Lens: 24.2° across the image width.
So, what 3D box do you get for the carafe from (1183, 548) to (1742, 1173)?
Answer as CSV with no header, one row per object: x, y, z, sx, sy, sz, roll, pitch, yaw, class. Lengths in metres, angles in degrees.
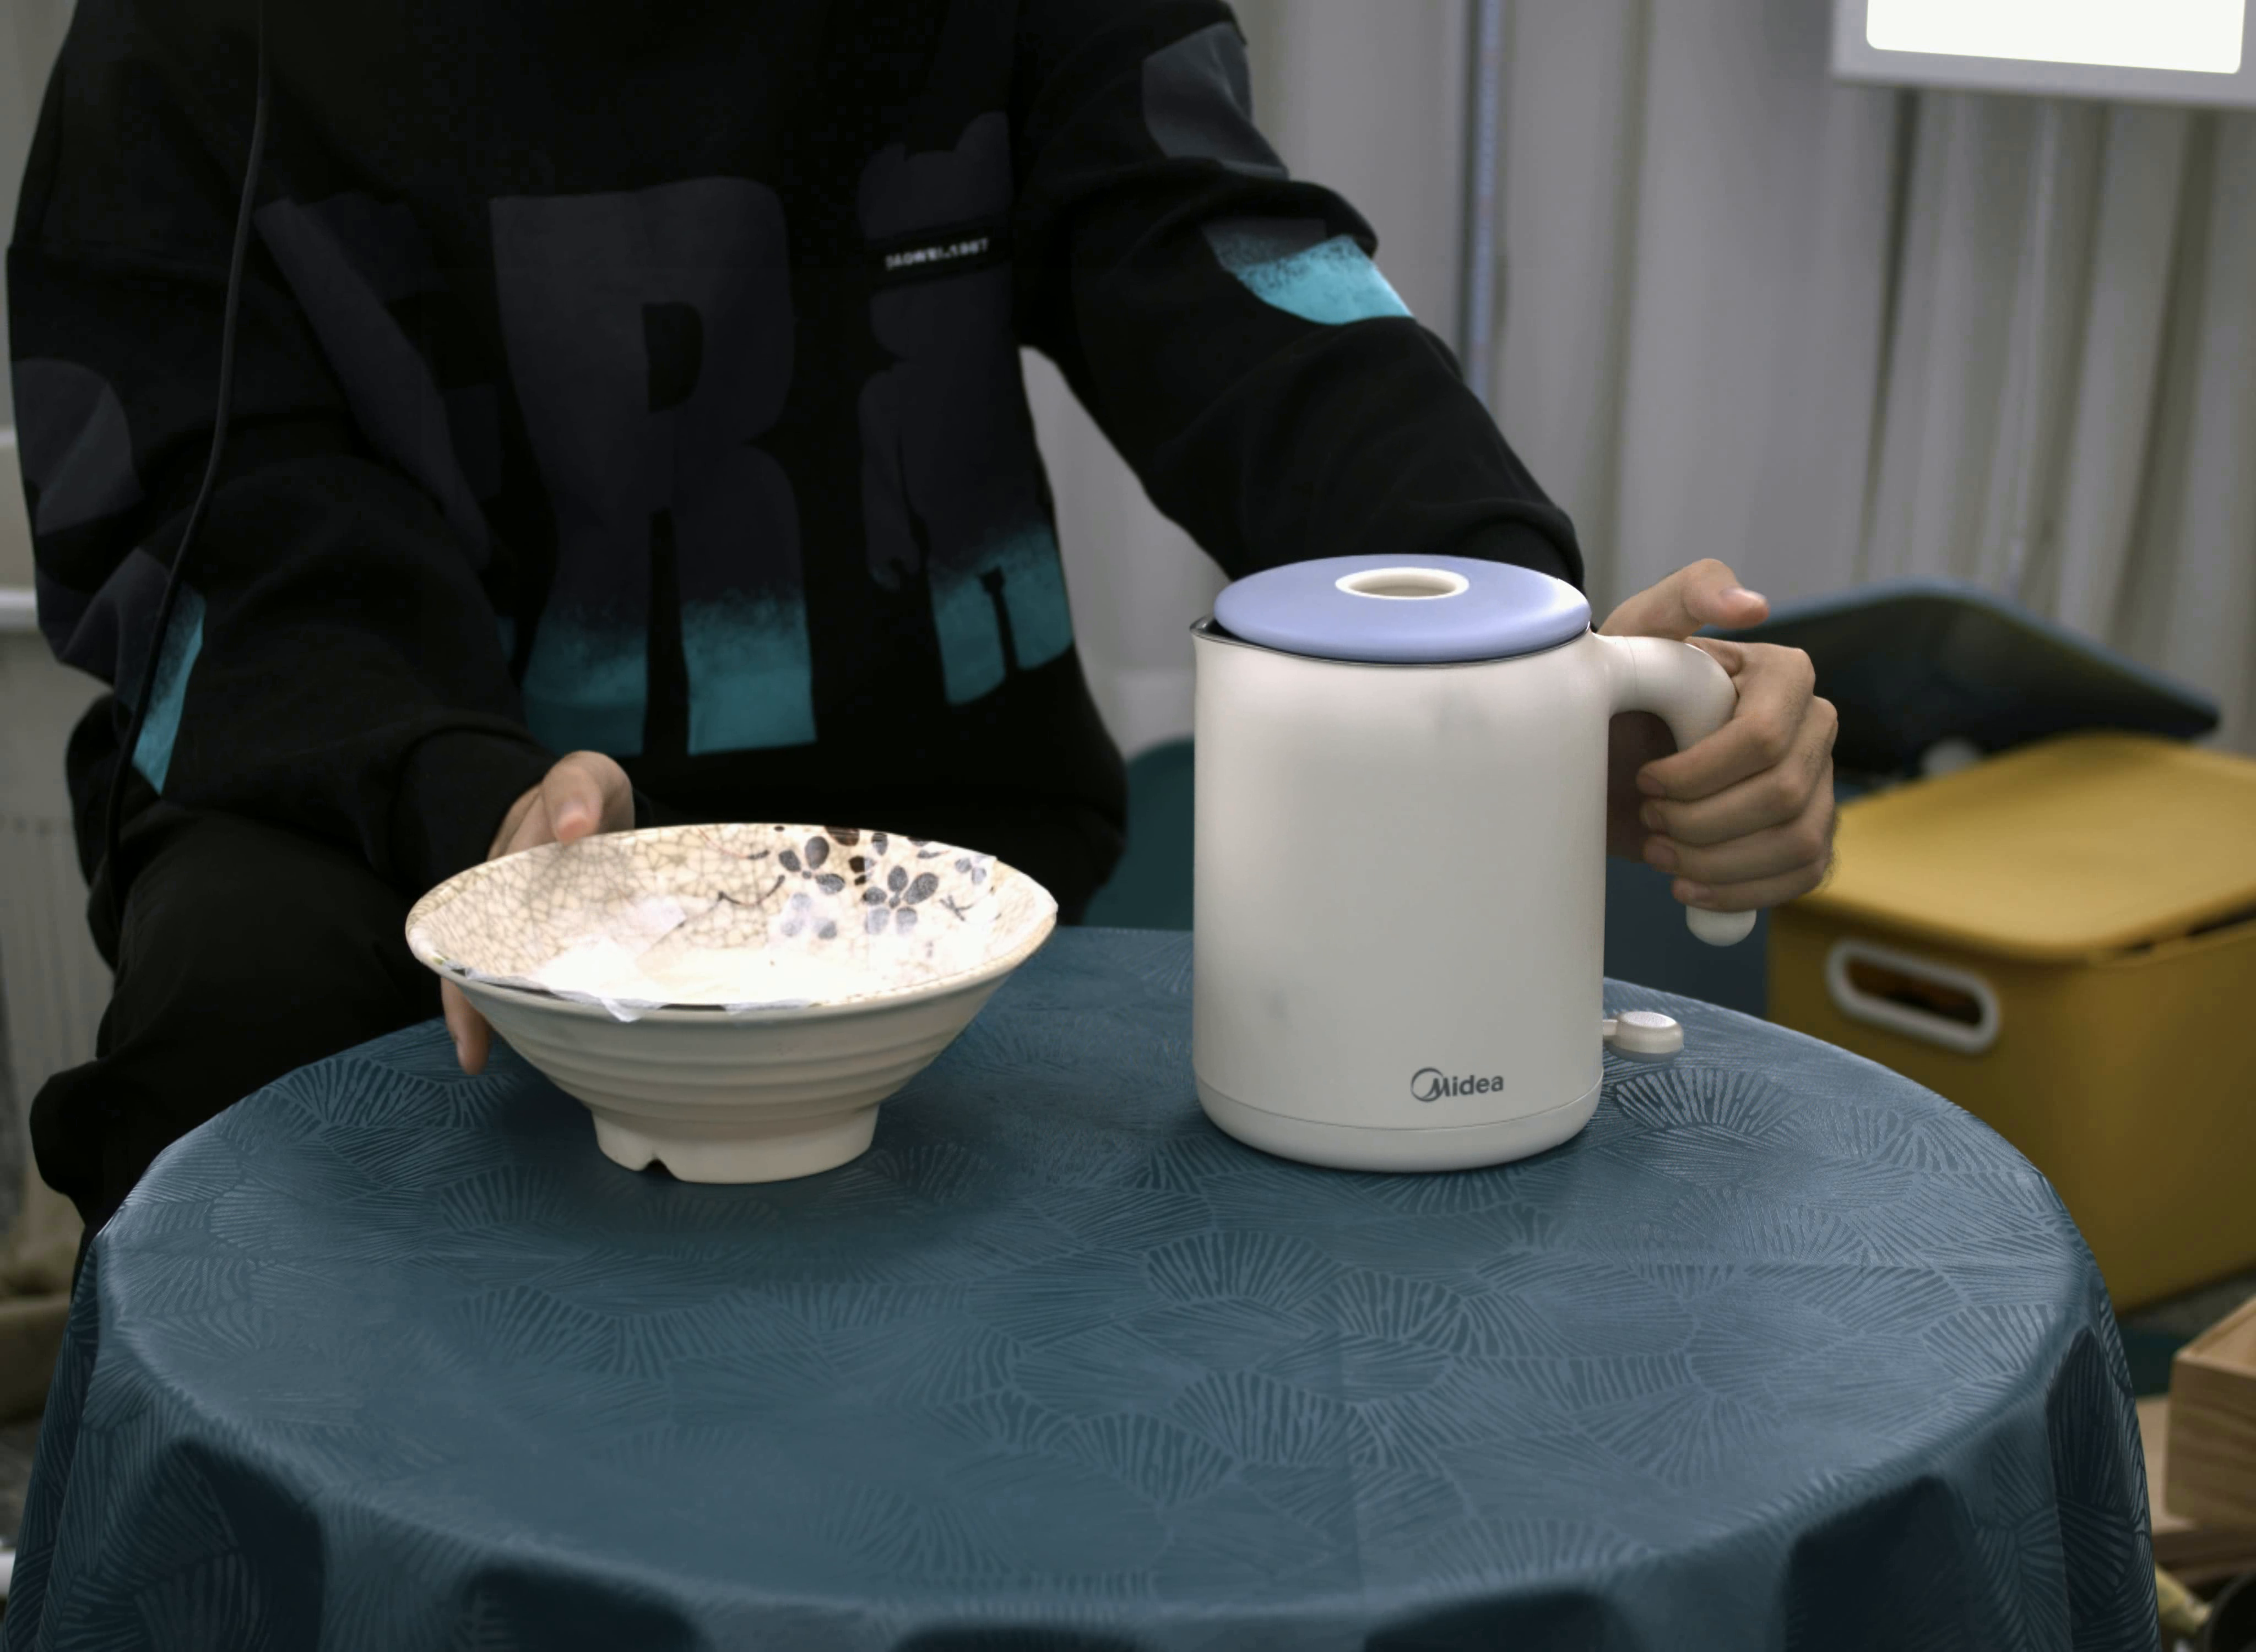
0.108,0.009,1.676,0.191,0.184,0.131,-2,17,-16,carafe

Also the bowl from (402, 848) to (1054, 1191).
-0.124,0.065,1.649,0.203,0.078,0.203,0,12,0,bowl
